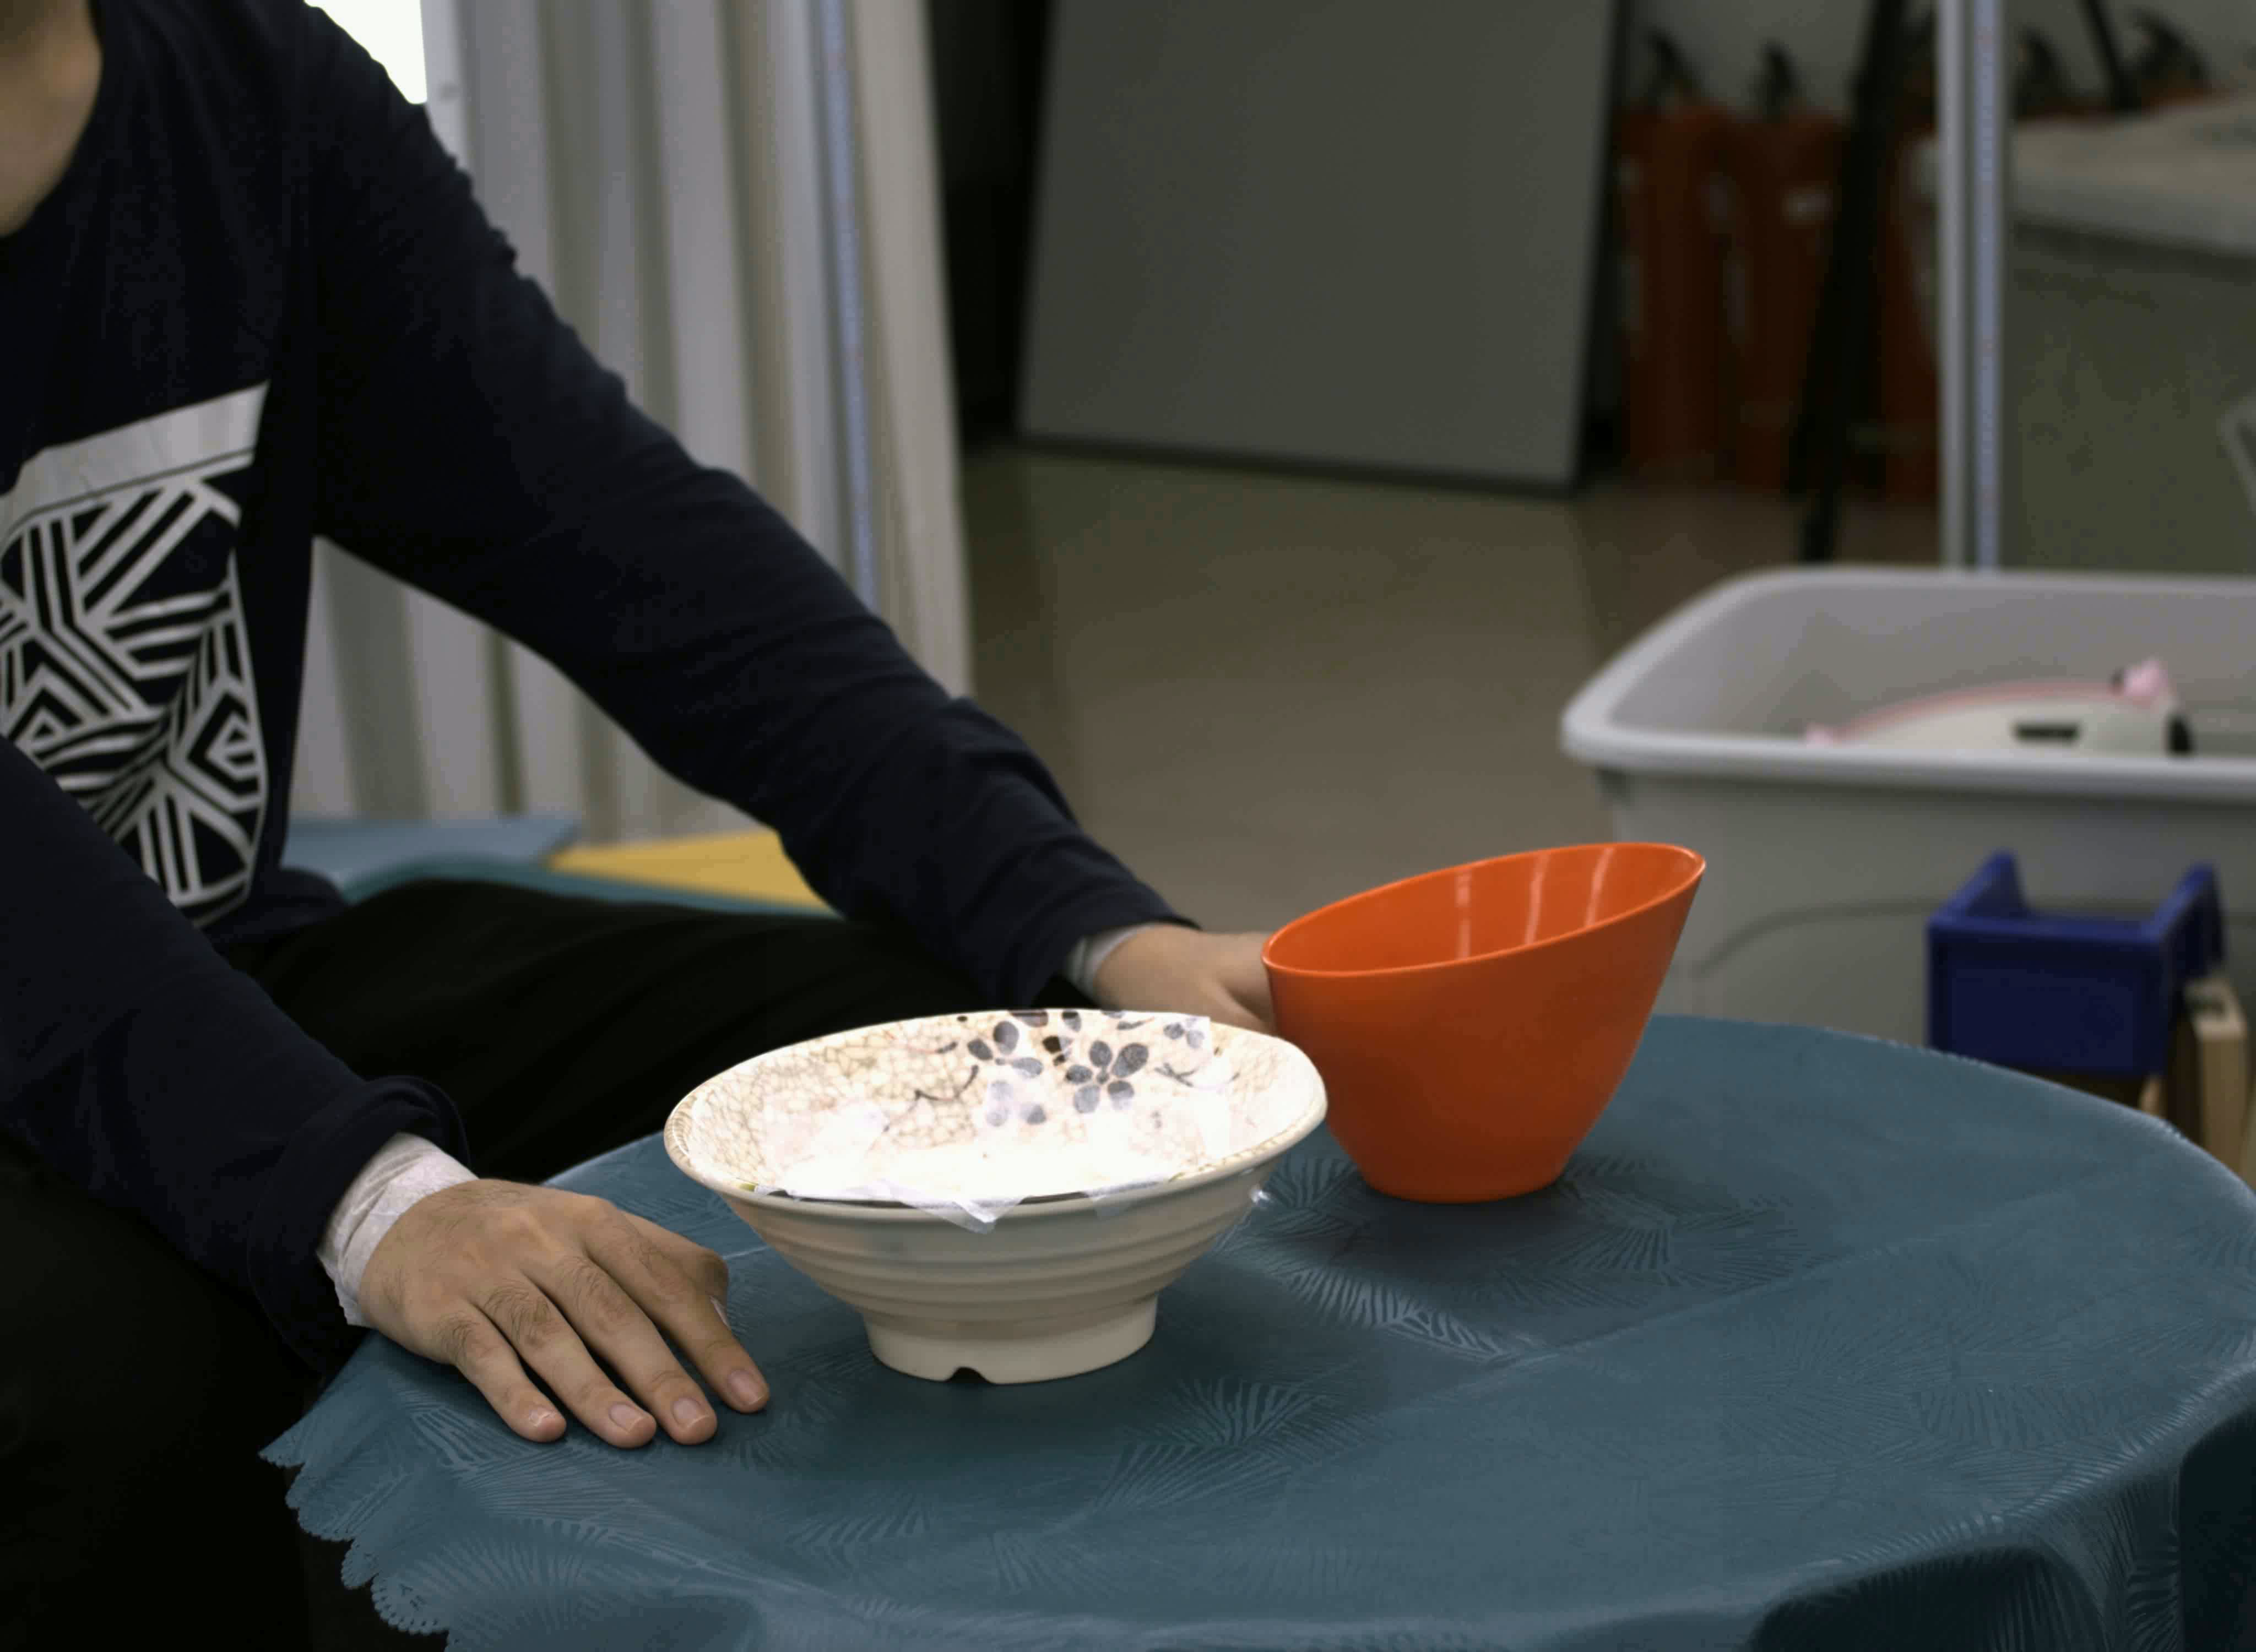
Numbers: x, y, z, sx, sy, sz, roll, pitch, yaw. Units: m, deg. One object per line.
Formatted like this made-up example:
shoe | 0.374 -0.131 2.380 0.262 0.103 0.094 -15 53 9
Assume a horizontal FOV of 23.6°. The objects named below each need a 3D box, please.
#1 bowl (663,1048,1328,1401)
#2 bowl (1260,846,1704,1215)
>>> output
bowl | -0.036 0.125 1.628 0.201 0.079 0.204 -7 8 0
bowl | 0.117 0.067 1.751 0.146 0.106 0.148 -6 12 0
